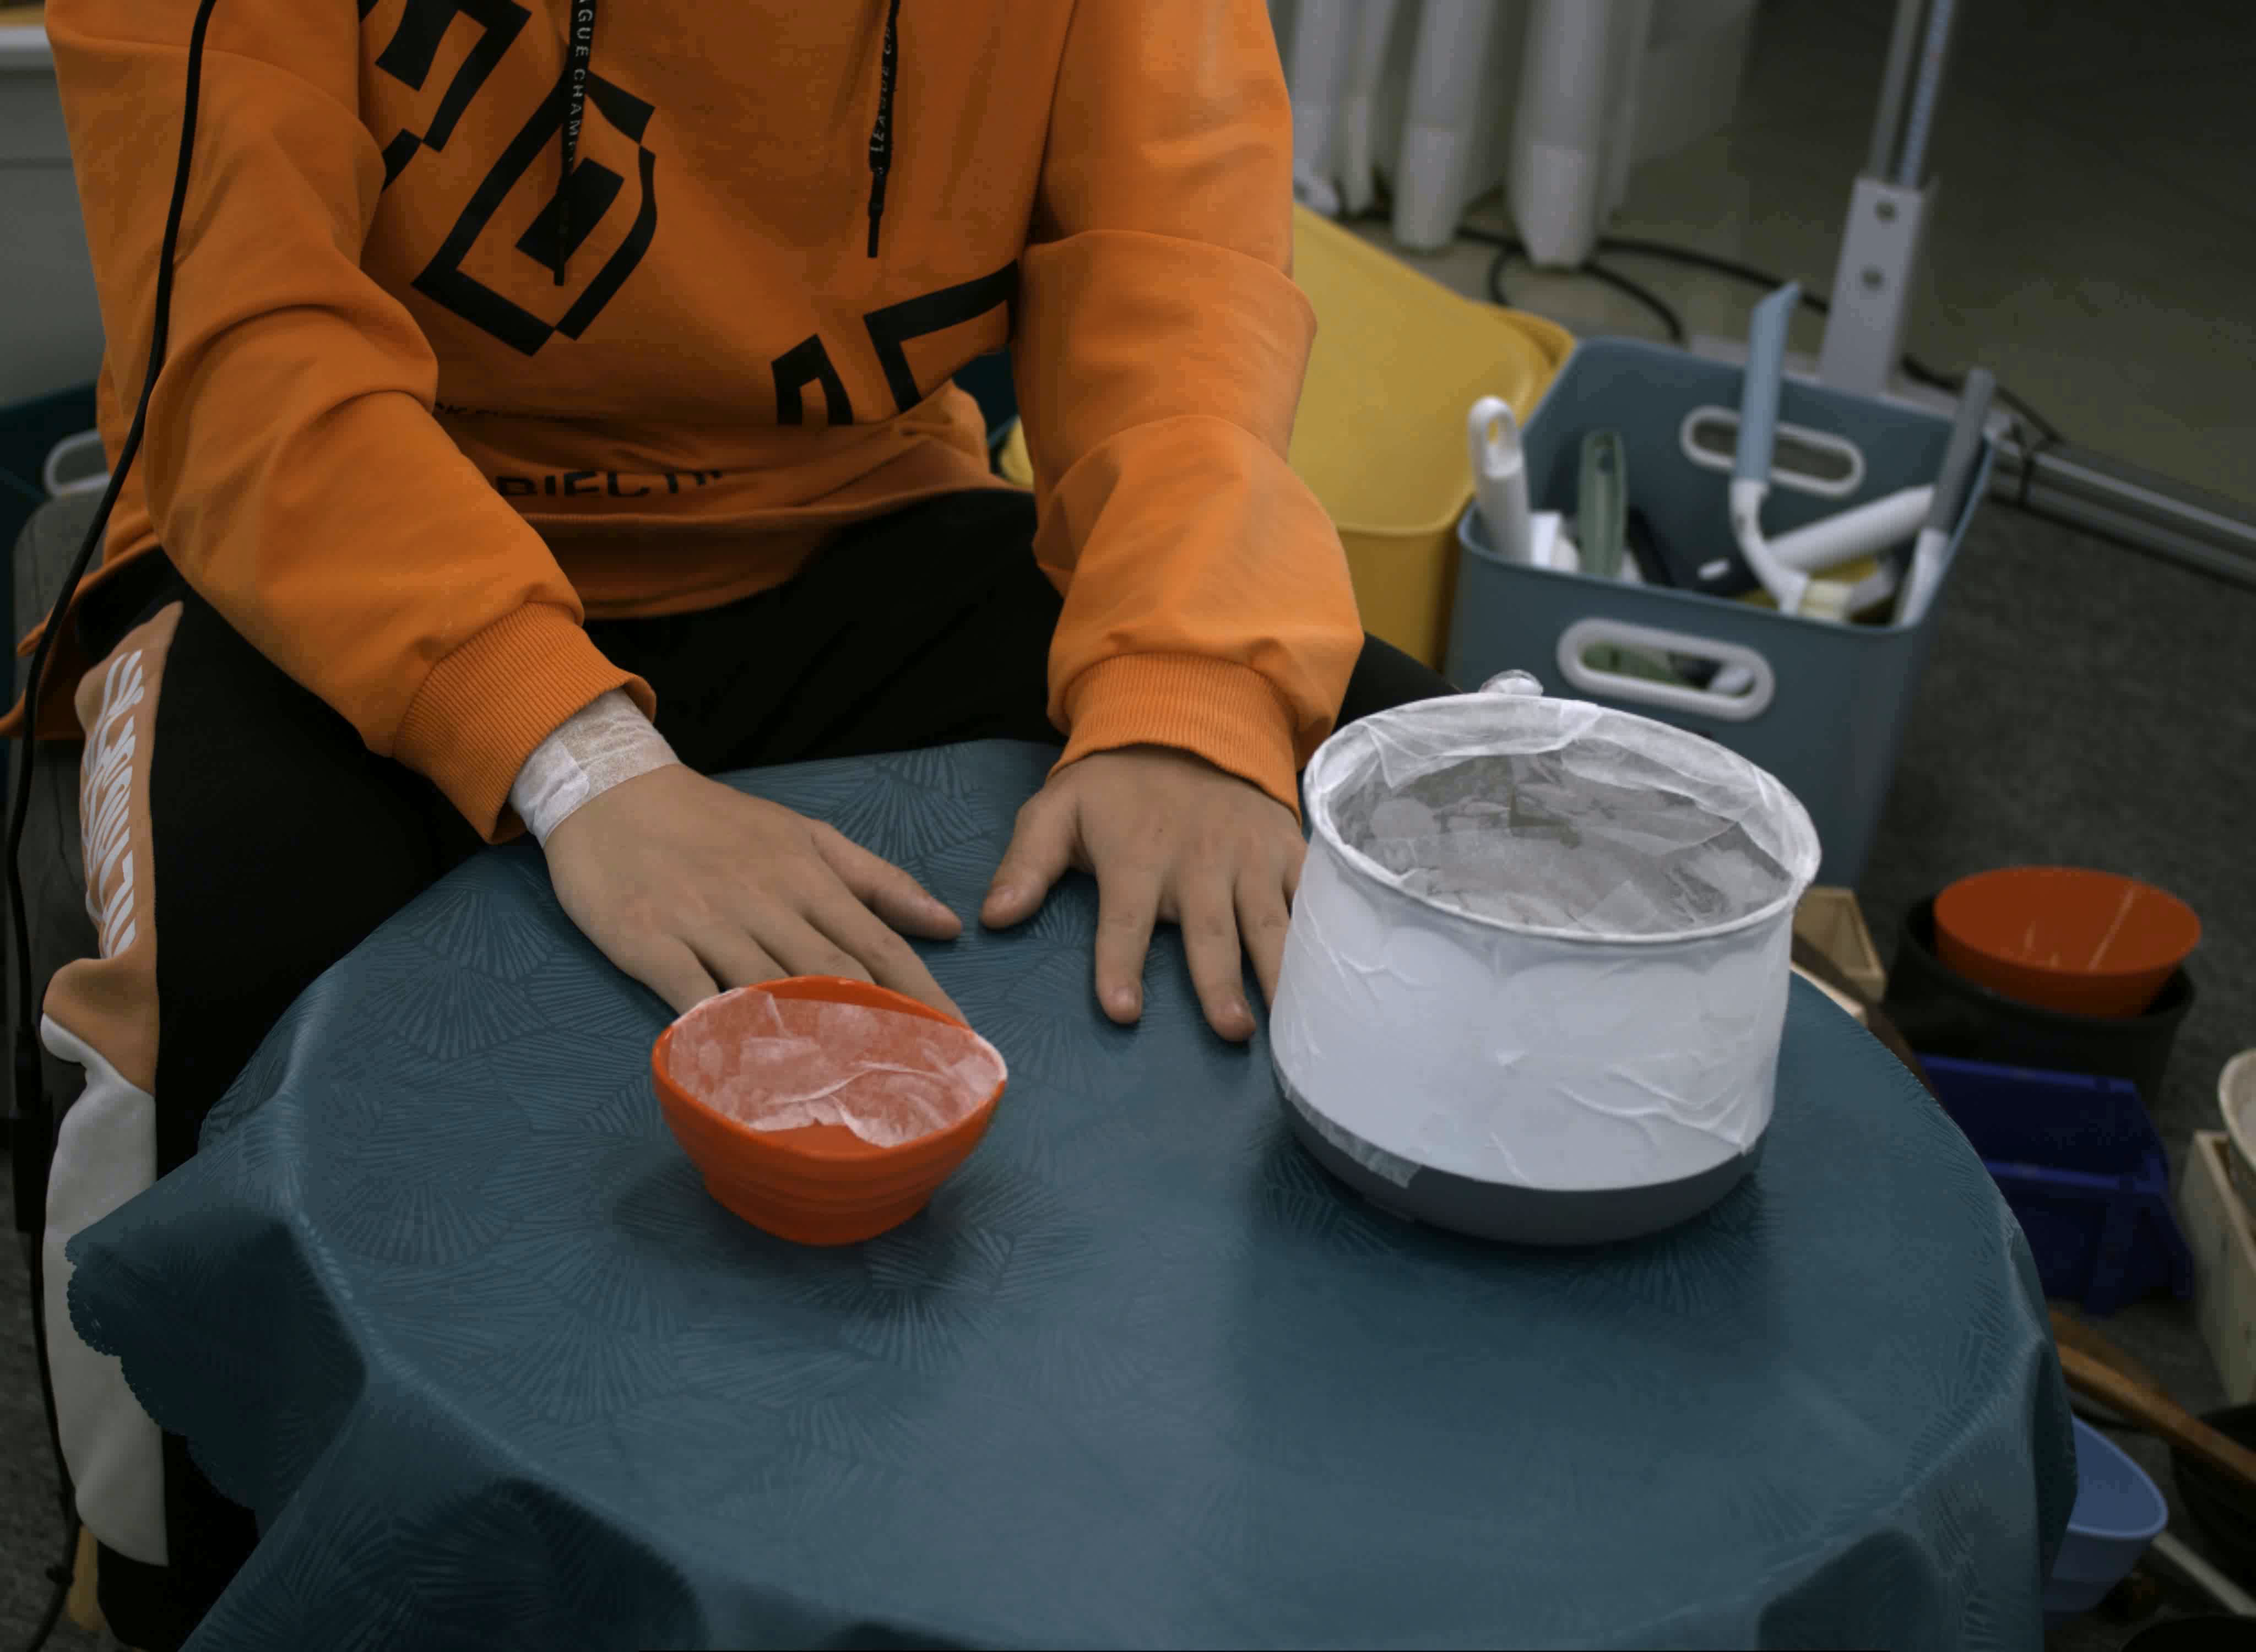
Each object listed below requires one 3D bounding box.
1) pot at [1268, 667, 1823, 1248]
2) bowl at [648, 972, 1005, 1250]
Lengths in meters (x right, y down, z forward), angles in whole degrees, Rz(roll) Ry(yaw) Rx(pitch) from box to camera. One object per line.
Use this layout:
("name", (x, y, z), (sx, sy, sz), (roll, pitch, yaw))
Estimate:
("pot", (0.136, 0.038, 1.849), (0.178, 0.136, 0.235), (3, 27, -9))
("bowl", (-0.102, 0.099, 1.772), (0.118, 0.051, 0.119), (5, 28, -3))
